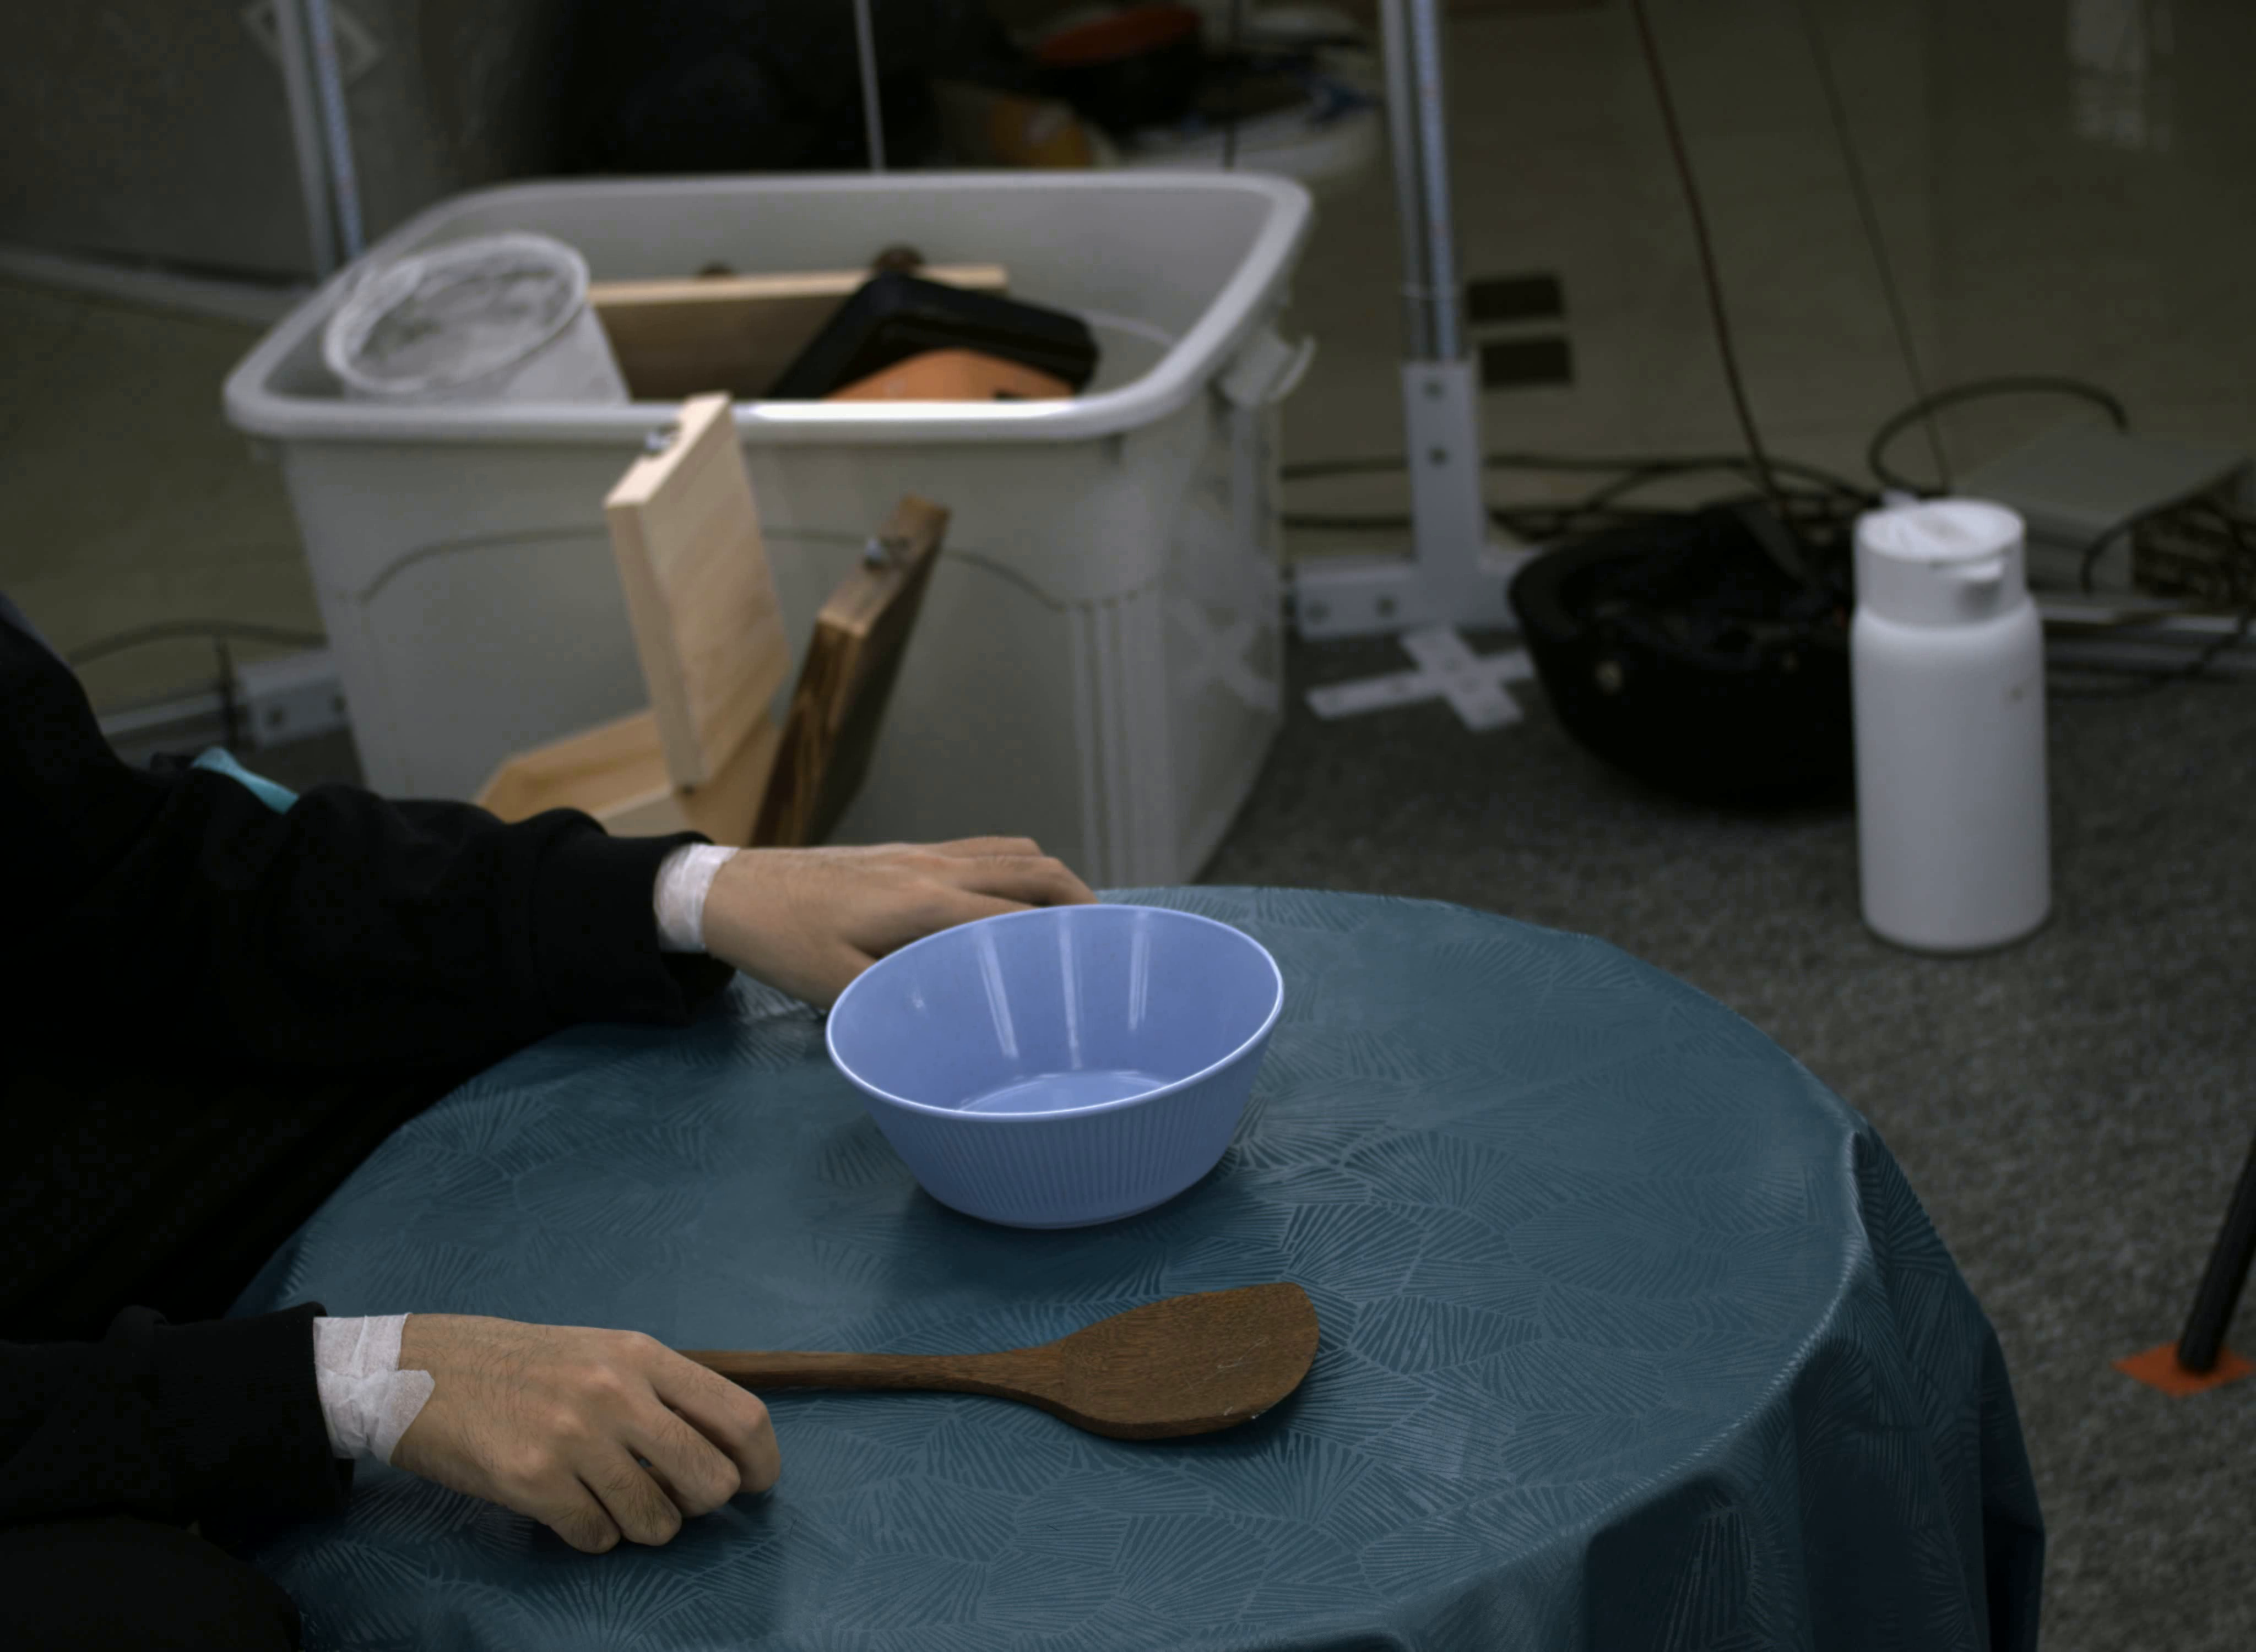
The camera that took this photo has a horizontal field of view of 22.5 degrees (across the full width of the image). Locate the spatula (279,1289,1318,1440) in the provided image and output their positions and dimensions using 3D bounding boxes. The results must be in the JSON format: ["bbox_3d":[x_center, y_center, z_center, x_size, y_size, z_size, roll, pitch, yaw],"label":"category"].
[{"bbox_3d":[-0.122,0.196,2.044,0.385,0.016,0.095,-2,25,11],"label":"spatula"}]

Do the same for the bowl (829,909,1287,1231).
[{"bbox_3d":[-0.023,0.099,2.162,0.176,0.071,0.173,-7,24,3],"label":"bowl"}]
